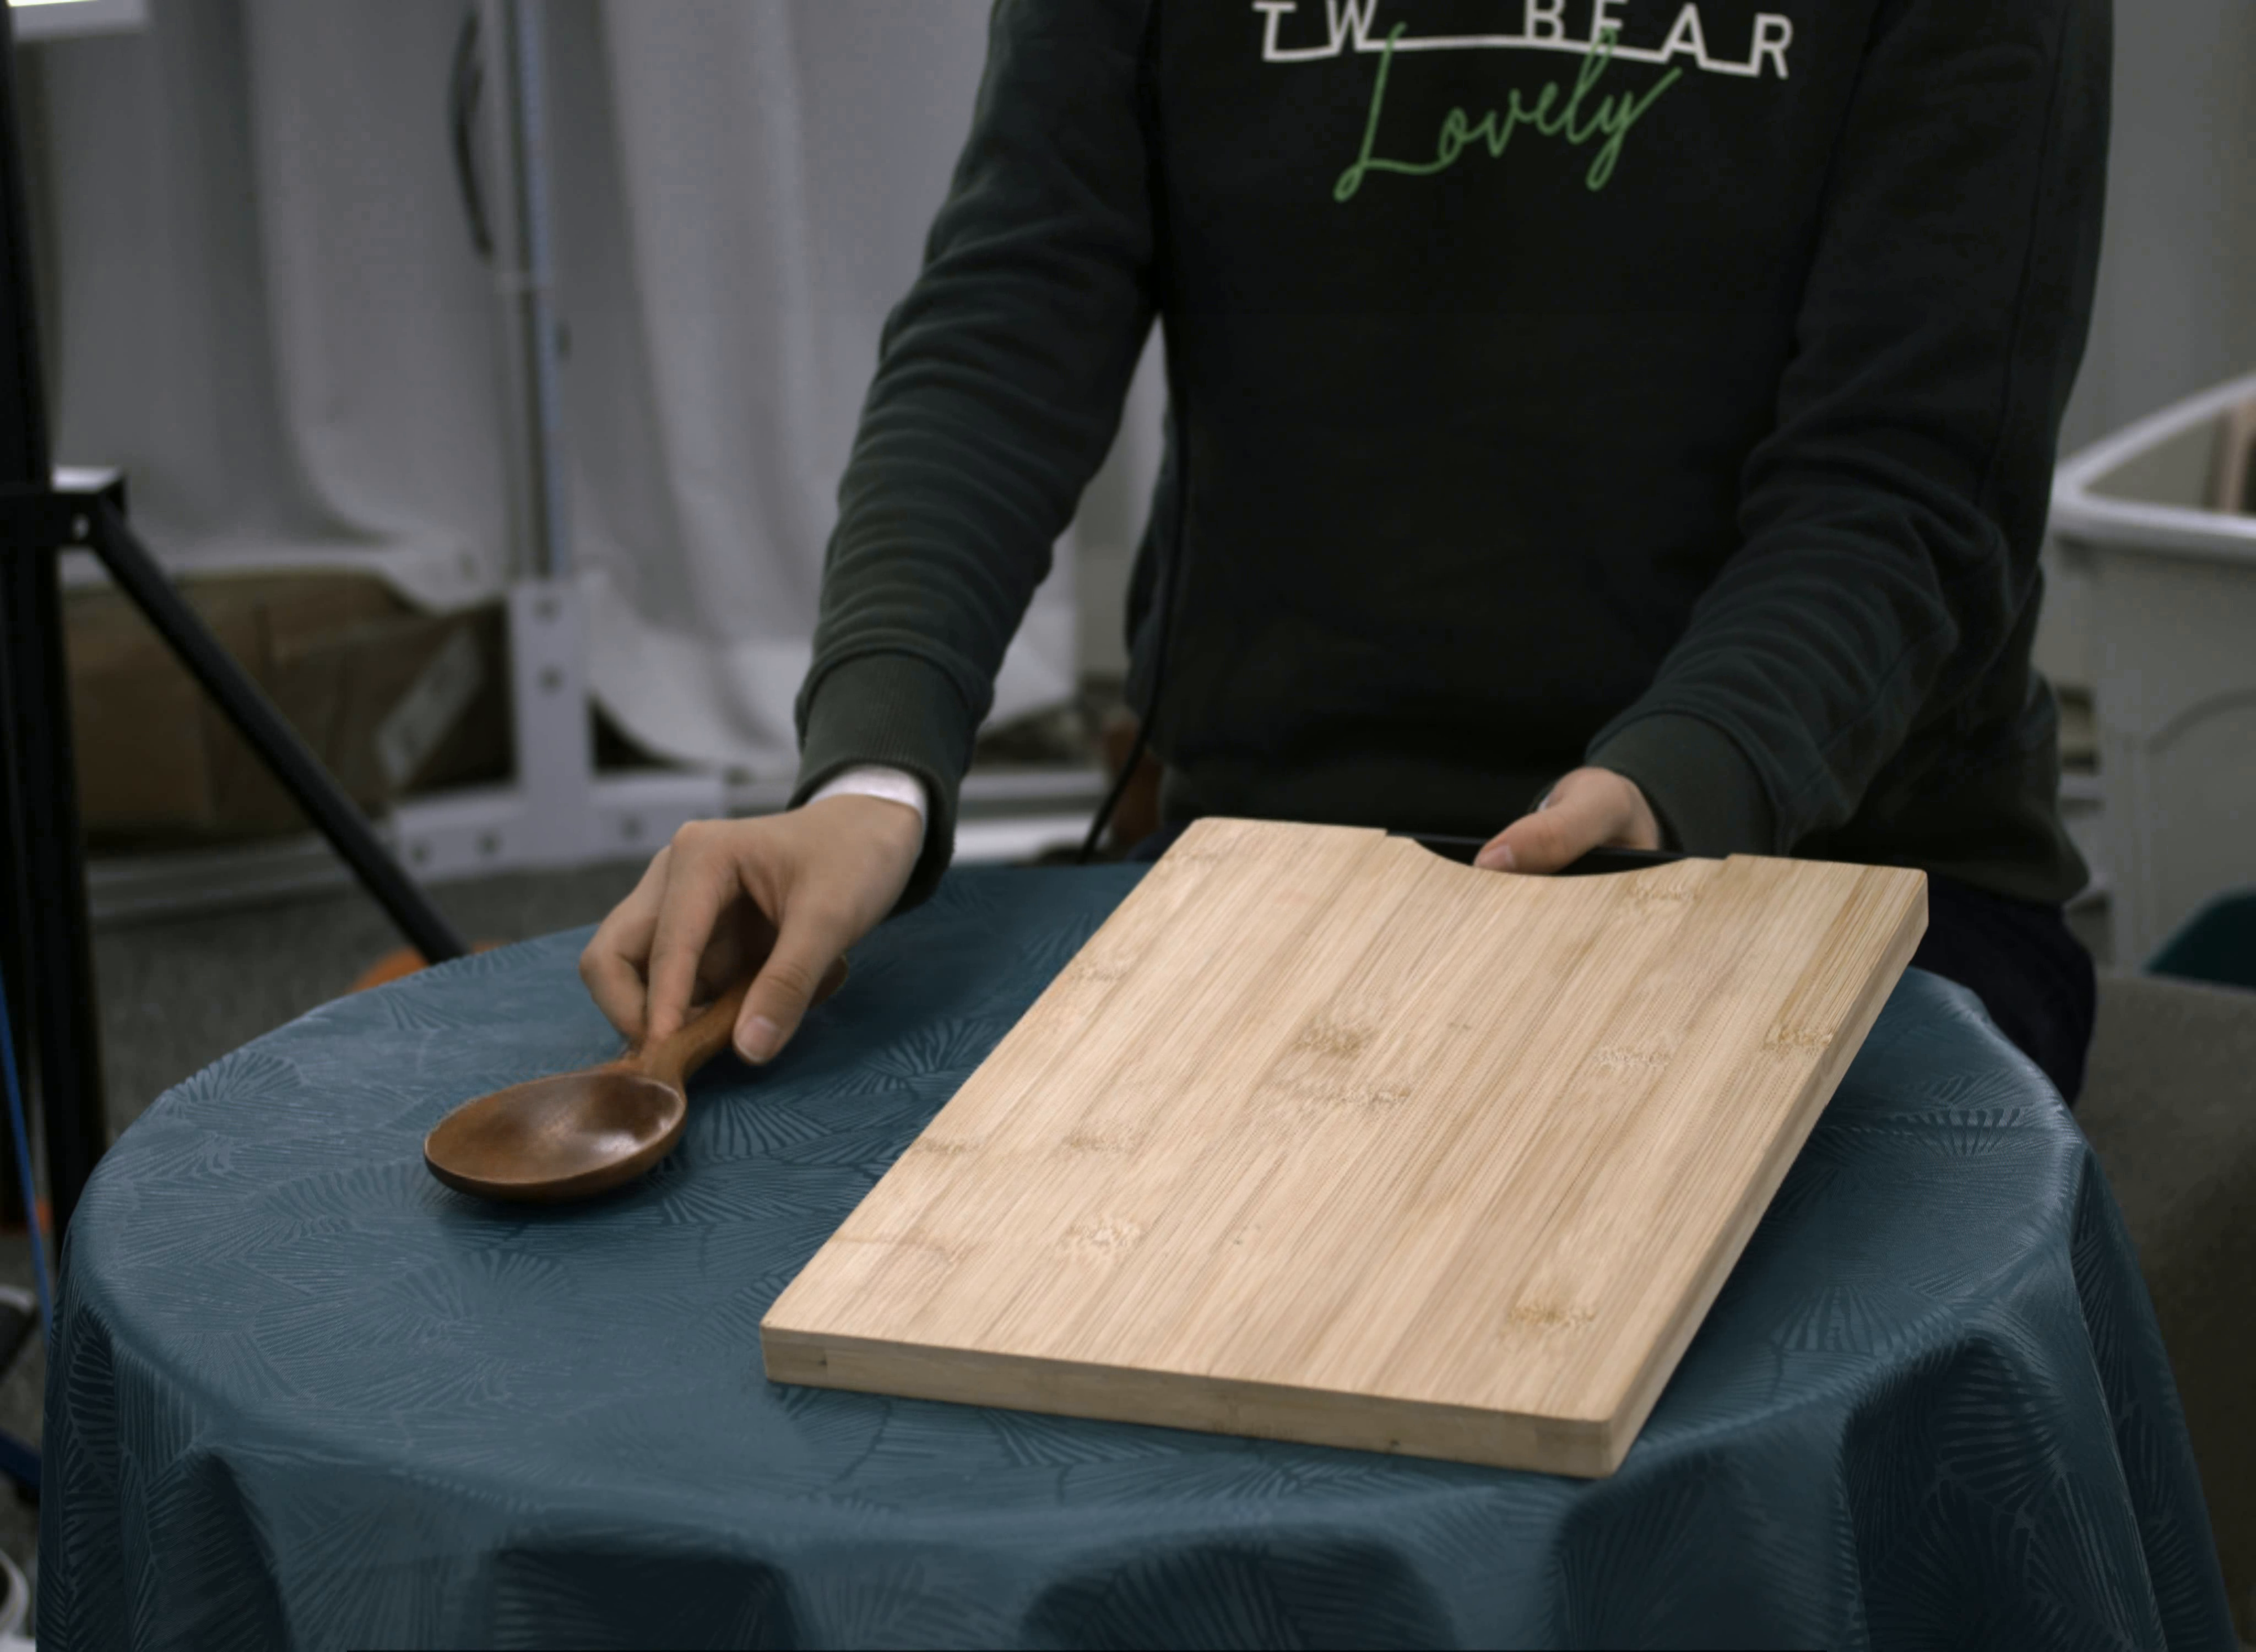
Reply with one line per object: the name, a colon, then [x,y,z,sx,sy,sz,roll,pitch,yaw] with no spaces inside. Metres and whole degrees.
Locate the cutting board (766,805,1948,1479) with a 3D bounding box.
cutting board: [0.076,0.080,1.523,0.254,0.023,0.345,4,26,21]

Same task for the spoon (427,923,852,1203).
spoon: [-0.142,0.075,1.648,0.076,0.017,0.213,3,21,26]
